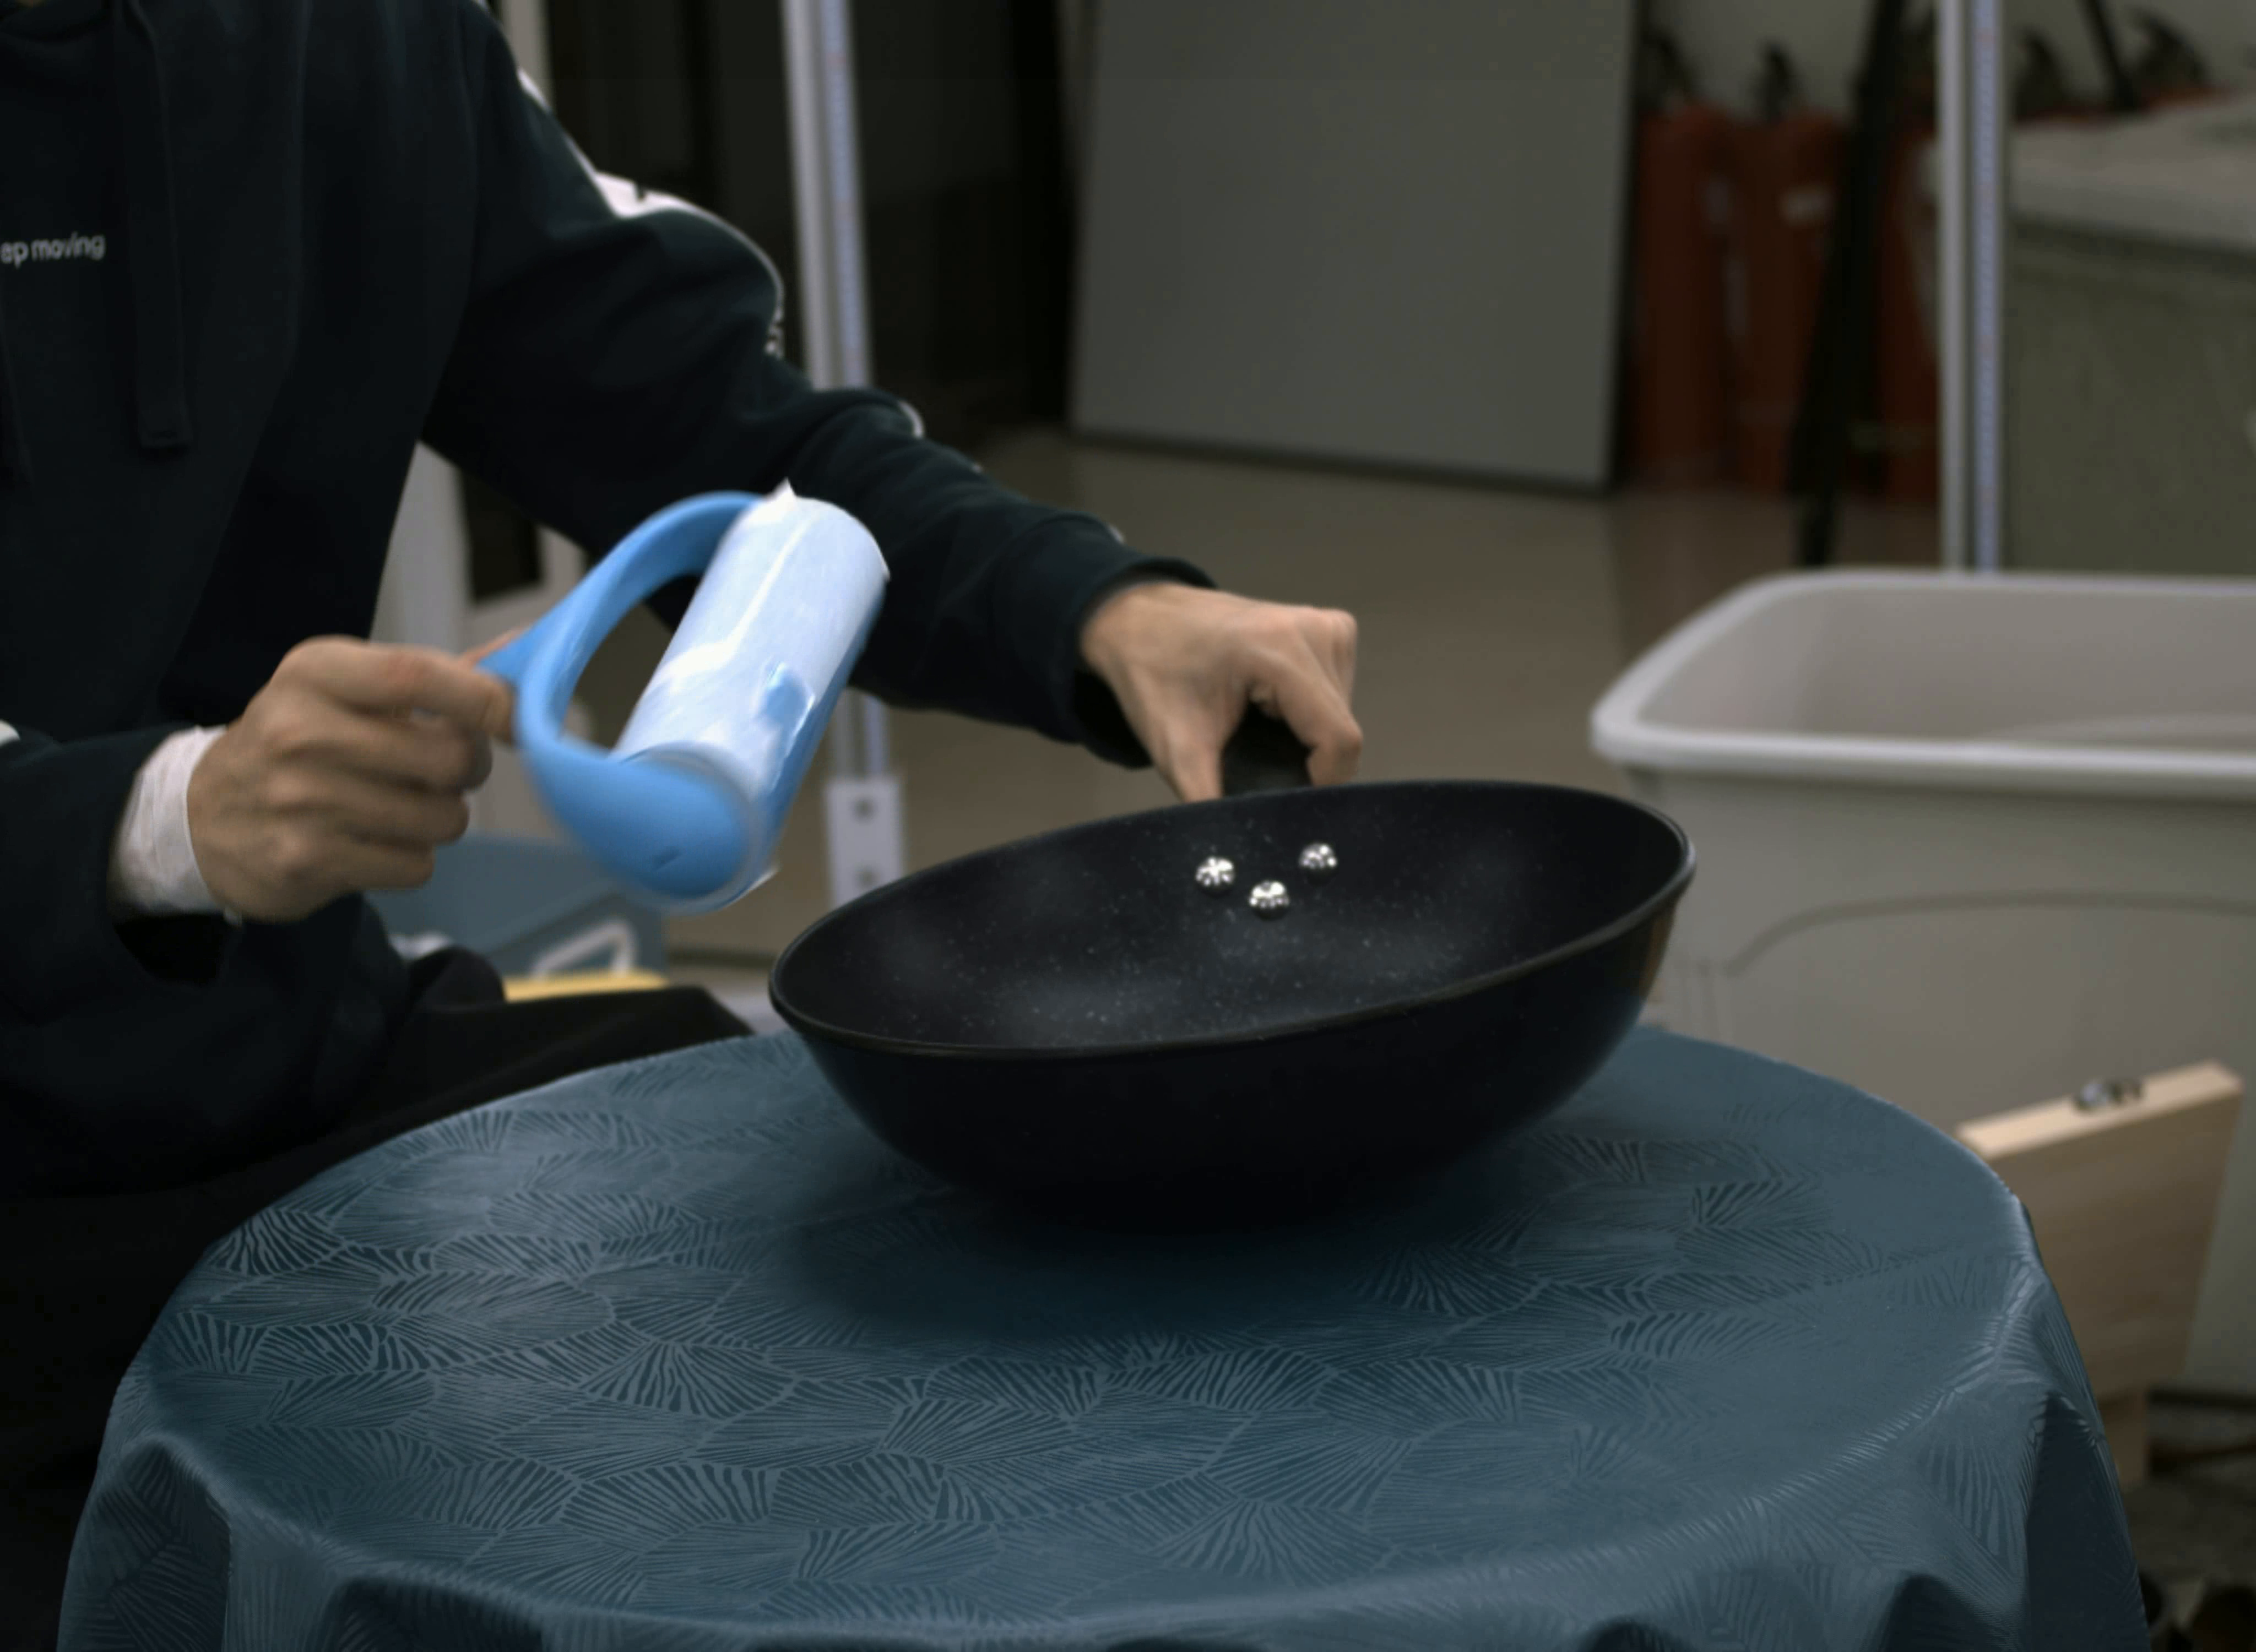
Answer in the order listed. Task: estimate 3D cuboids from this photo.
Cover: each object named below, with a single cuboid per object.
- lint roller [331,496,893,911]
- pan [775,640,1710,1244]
[{"bbox_3d":[-0.169,-0.025,1.626,0.179,0.068,0.229,-16,22,14],"label":"lint roller"},{"bbox_3d":[0.046,0.039,1.845,0.307,0.113,0.476,-6,13,6],"label":"pan"}]
